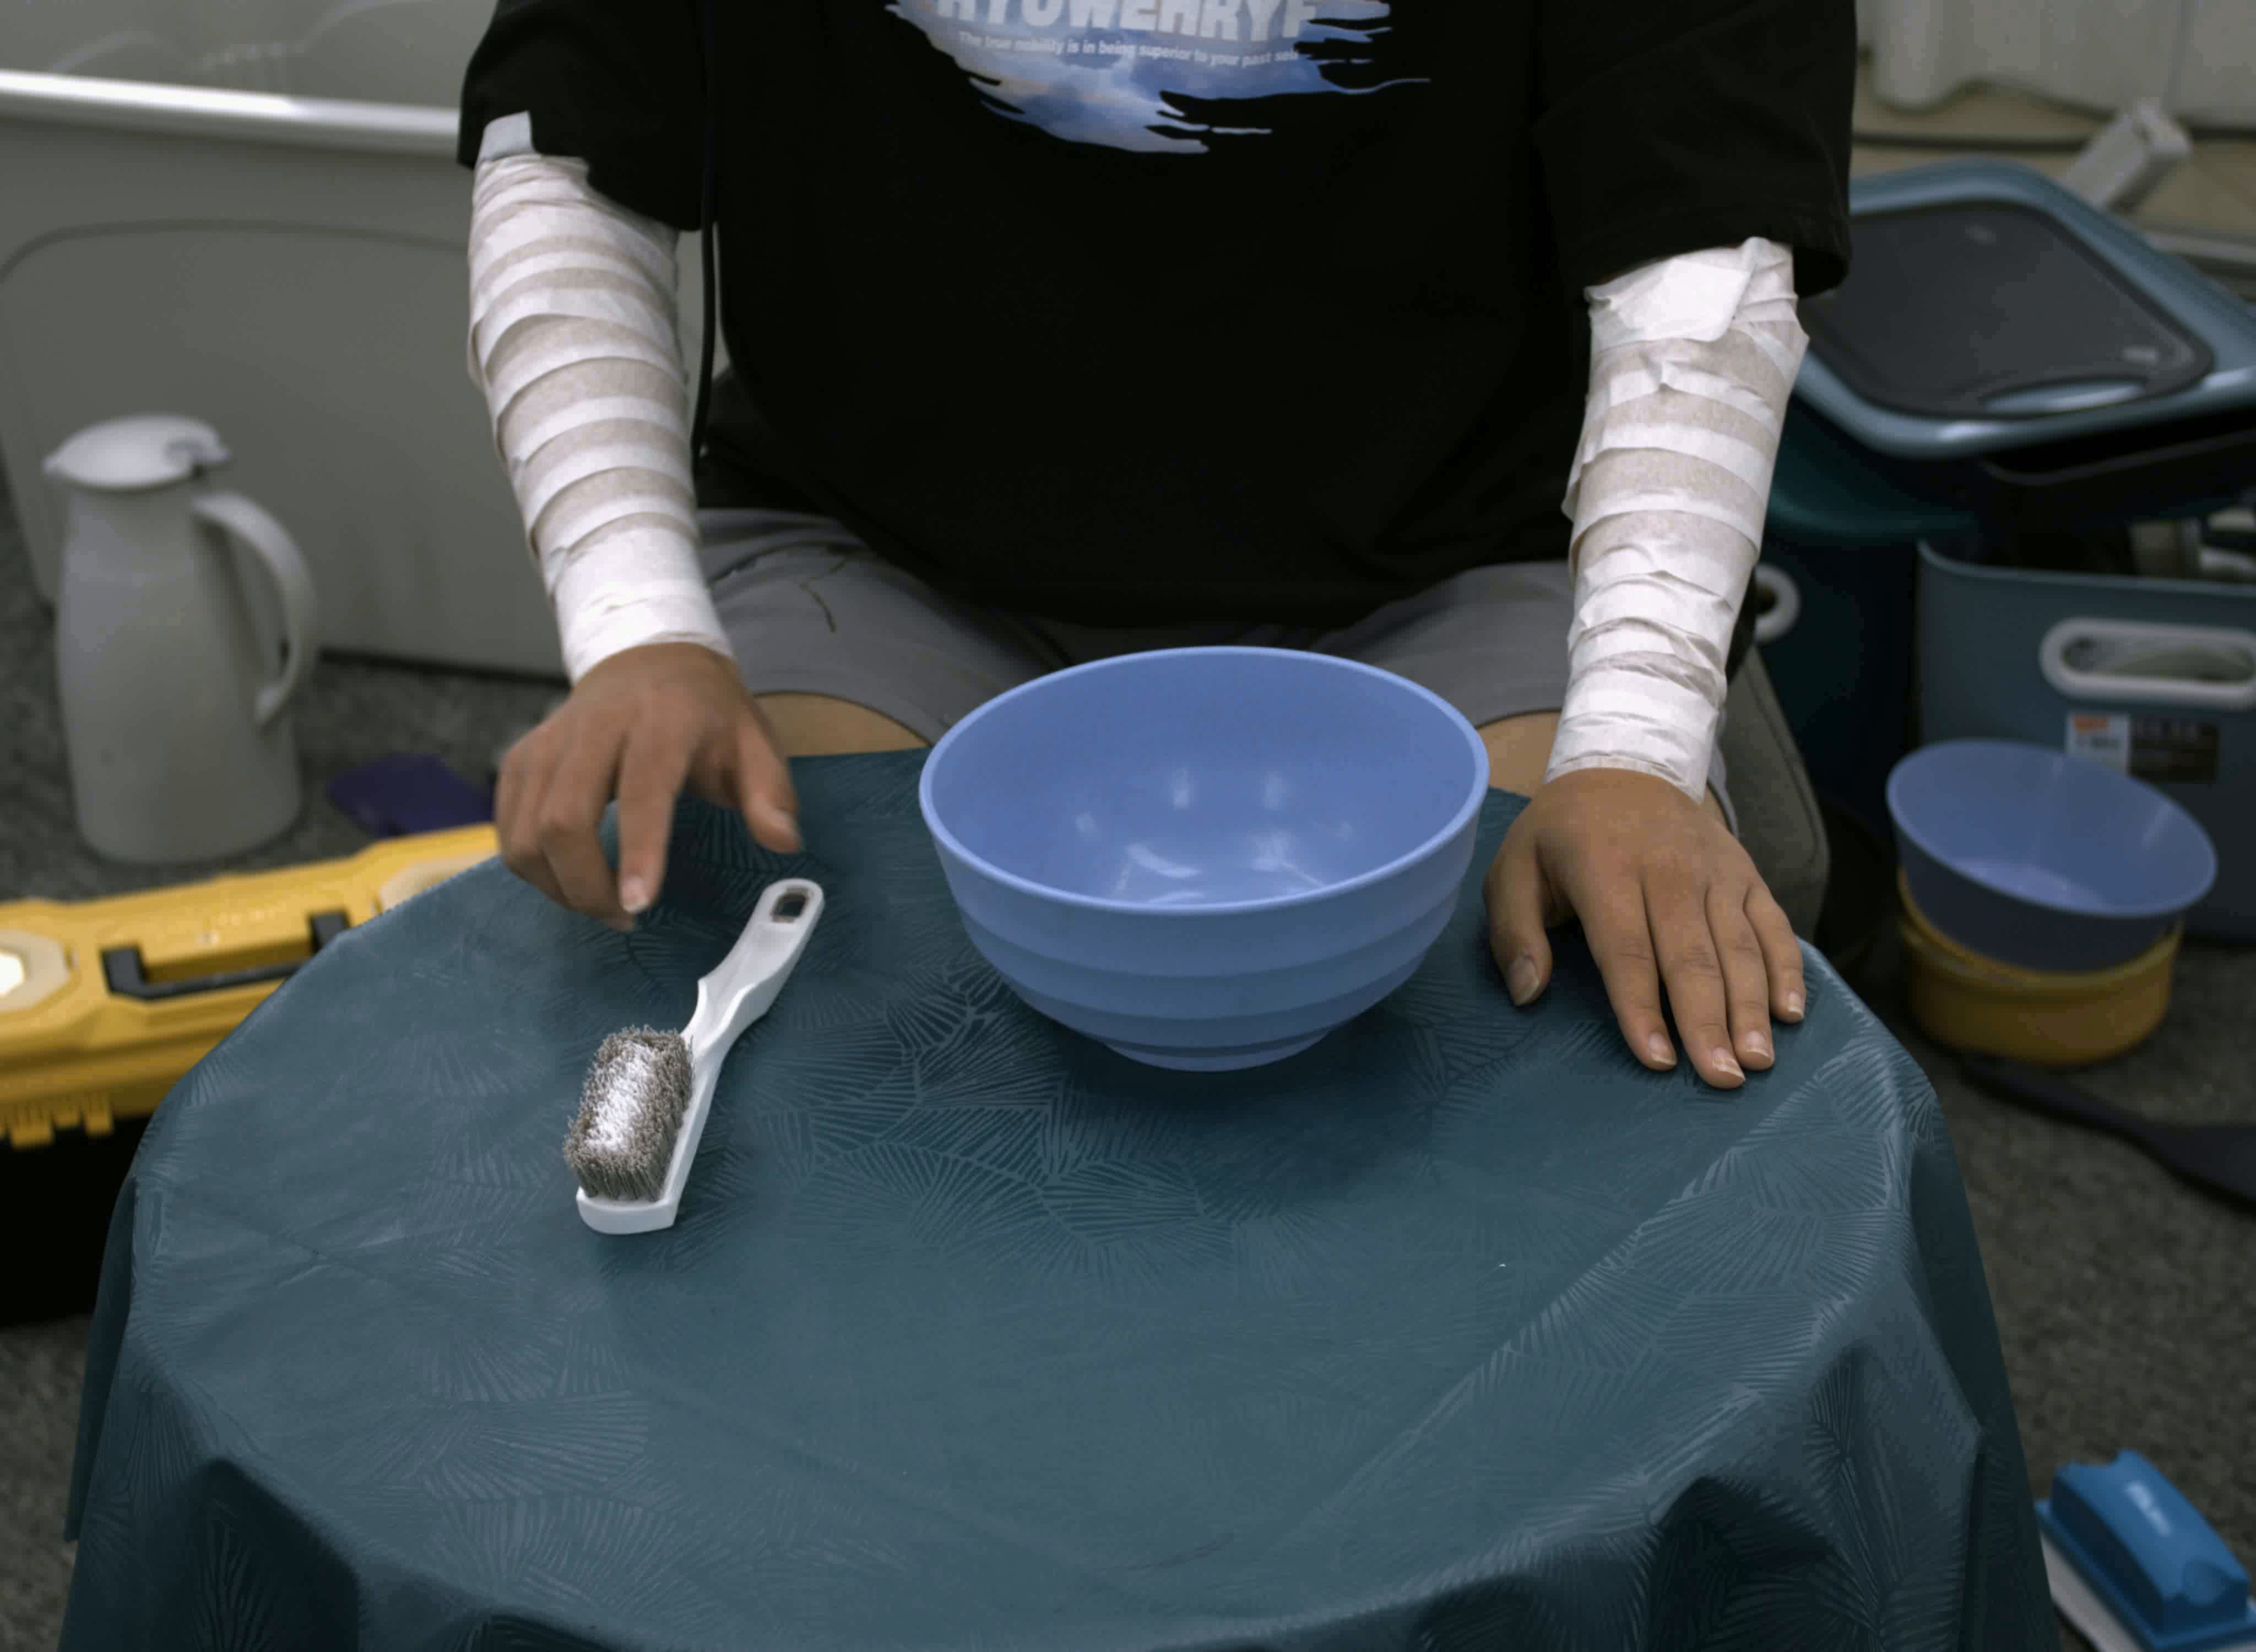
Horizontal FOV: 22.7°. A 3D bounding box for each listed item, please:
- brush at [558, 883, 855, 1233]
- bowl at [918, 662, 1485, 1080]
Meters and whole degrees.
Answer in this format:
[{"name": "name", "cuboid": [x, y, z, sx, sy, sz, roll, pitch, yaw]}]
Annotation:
[{"name": "brush", "cuboid": [-0.142, 0.062, 1.937, 0.034, 0.050, 0.248, 1, 27, 16]}, {"name": "bowl", "cuboid": [0.029, 0.025, 1.951, 0.195, 0.094, 0.199, -4, 25, 2]}]
